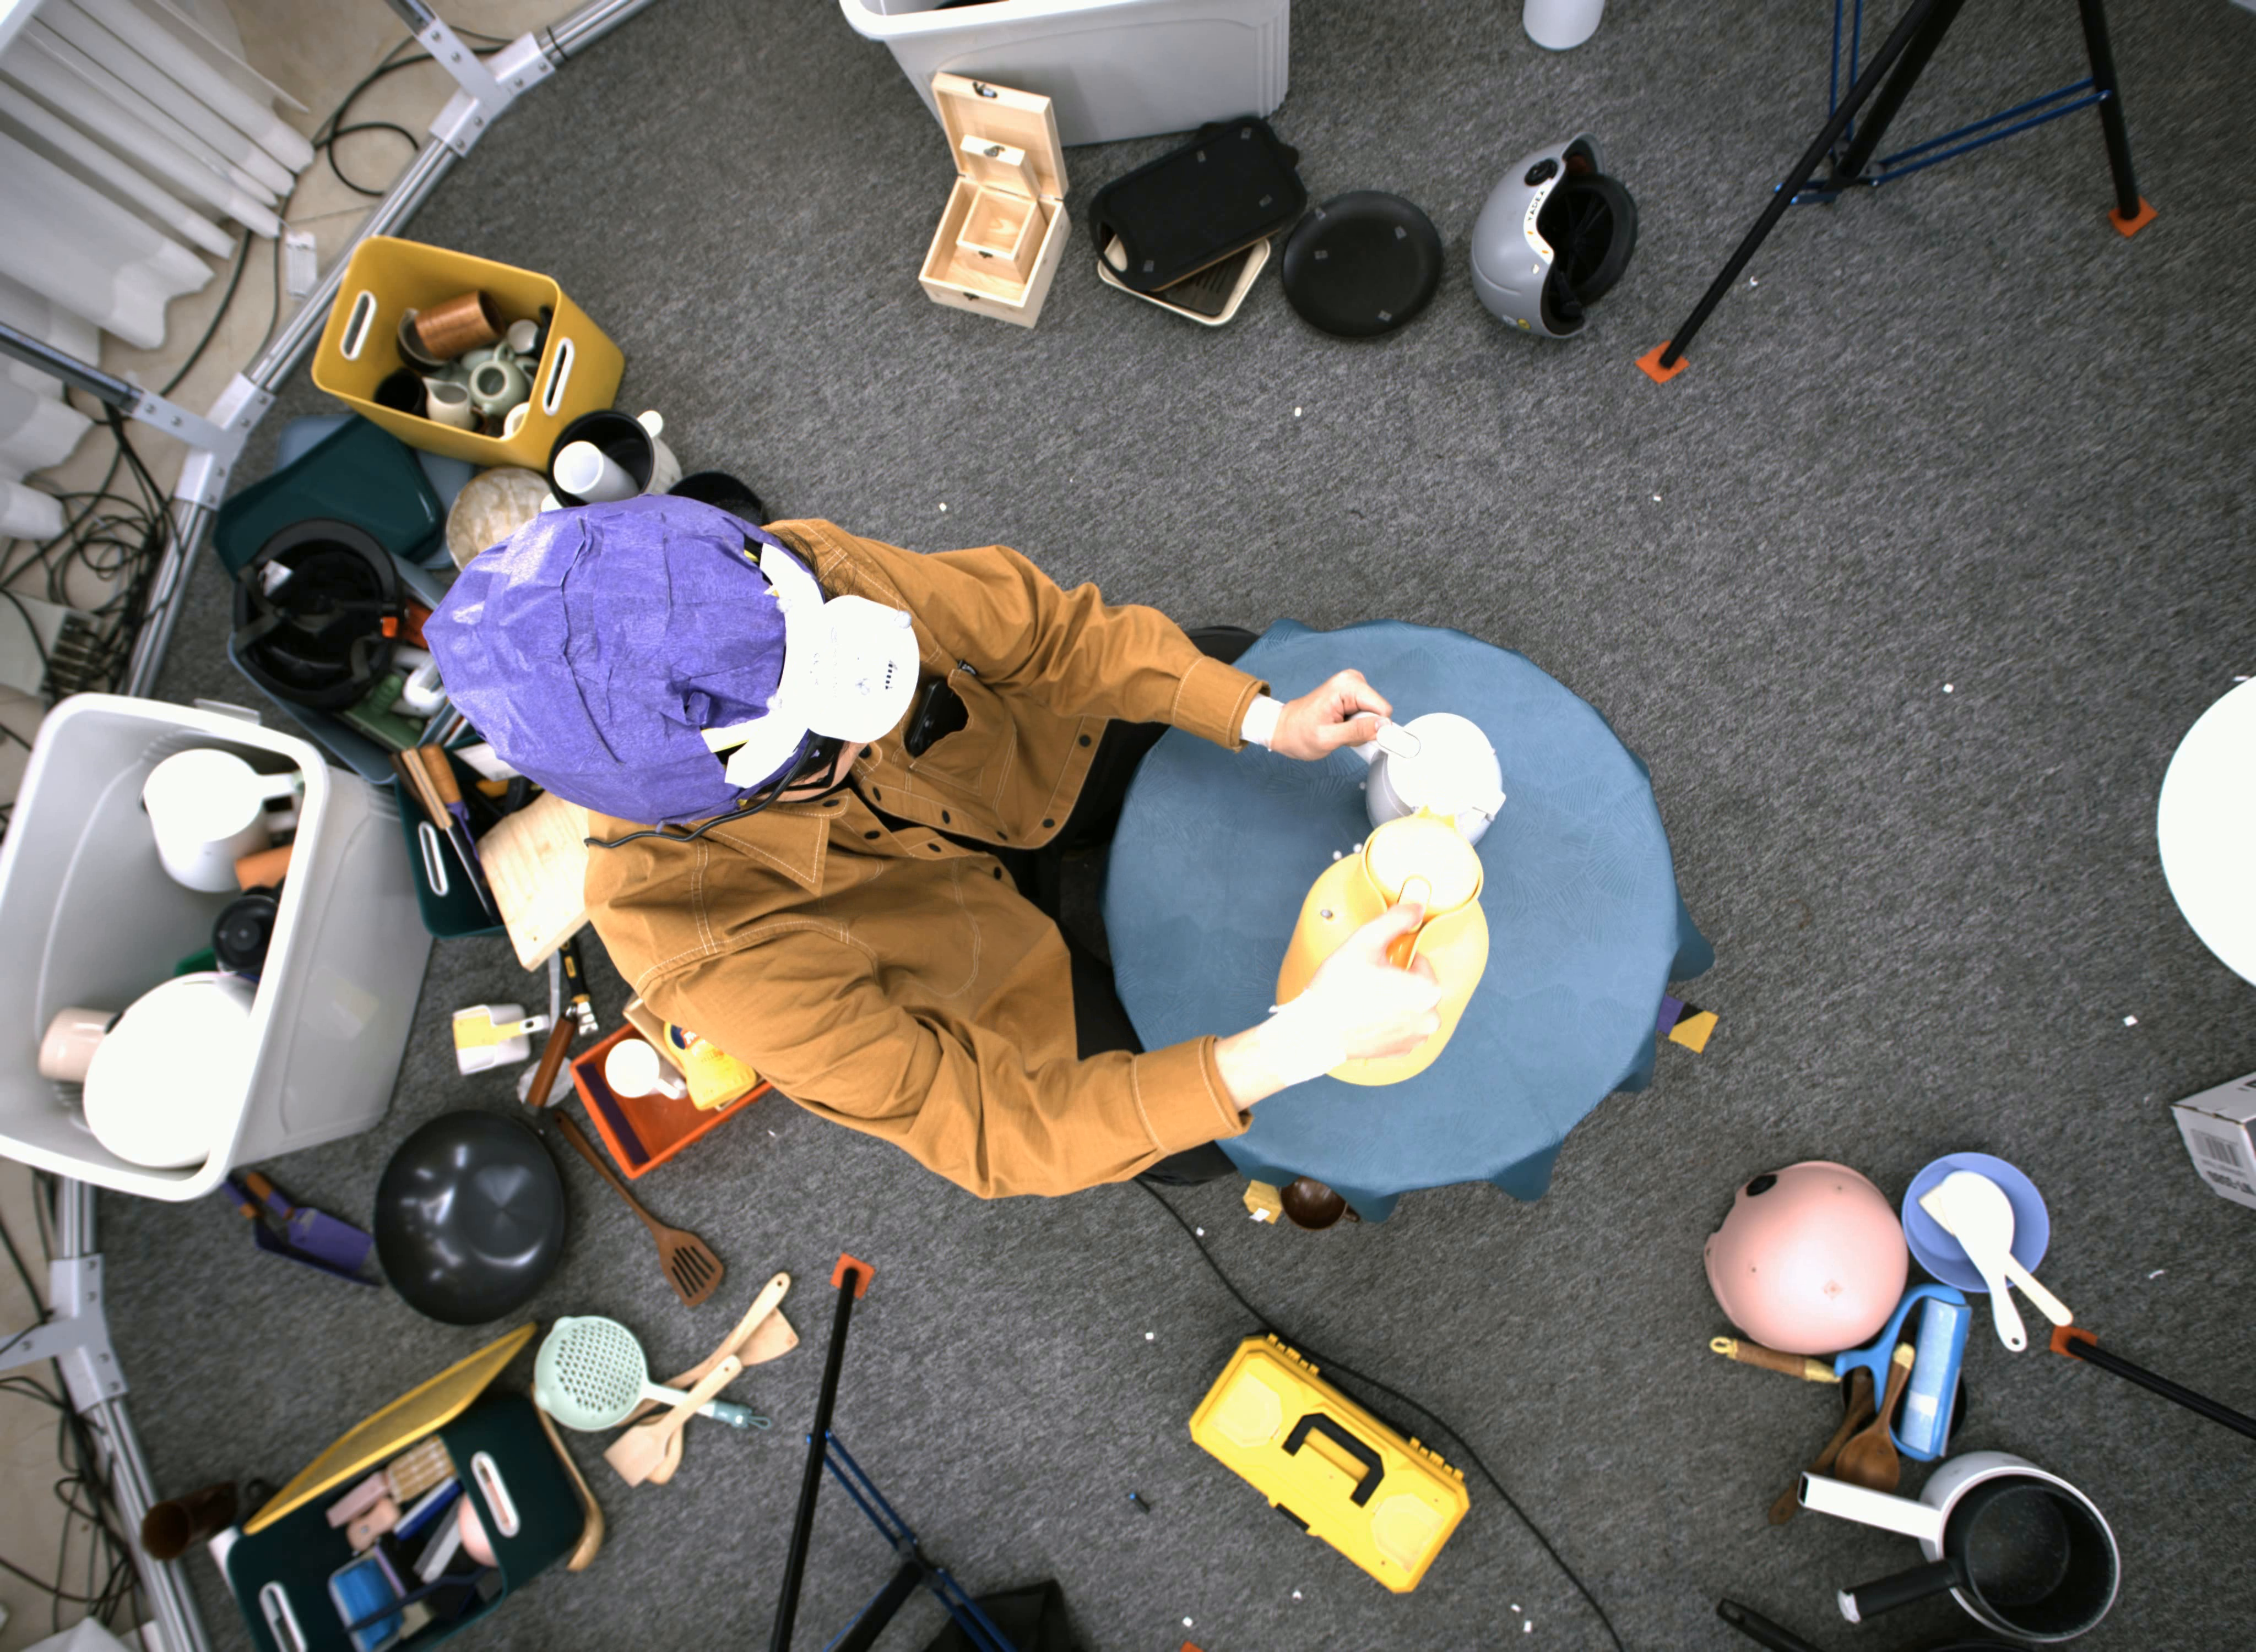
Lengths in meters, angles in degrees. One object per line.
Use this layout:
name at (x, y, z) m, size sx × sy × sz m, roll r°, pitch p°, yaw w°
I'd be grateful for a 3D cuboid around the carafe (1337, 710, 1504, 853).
carafe at (0.276, -0.051, 1.314) m, size 0.167 × 0.249 × 0.133 m, roll 33°, pitch 92°, yaw 12°

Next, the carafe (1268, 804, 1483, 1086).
carafe at (0.211, 0.115, 1.175) m, size 0.163 × 0.267 × 0.197 m, roll 21°, pitch 53°, yaw 9°
